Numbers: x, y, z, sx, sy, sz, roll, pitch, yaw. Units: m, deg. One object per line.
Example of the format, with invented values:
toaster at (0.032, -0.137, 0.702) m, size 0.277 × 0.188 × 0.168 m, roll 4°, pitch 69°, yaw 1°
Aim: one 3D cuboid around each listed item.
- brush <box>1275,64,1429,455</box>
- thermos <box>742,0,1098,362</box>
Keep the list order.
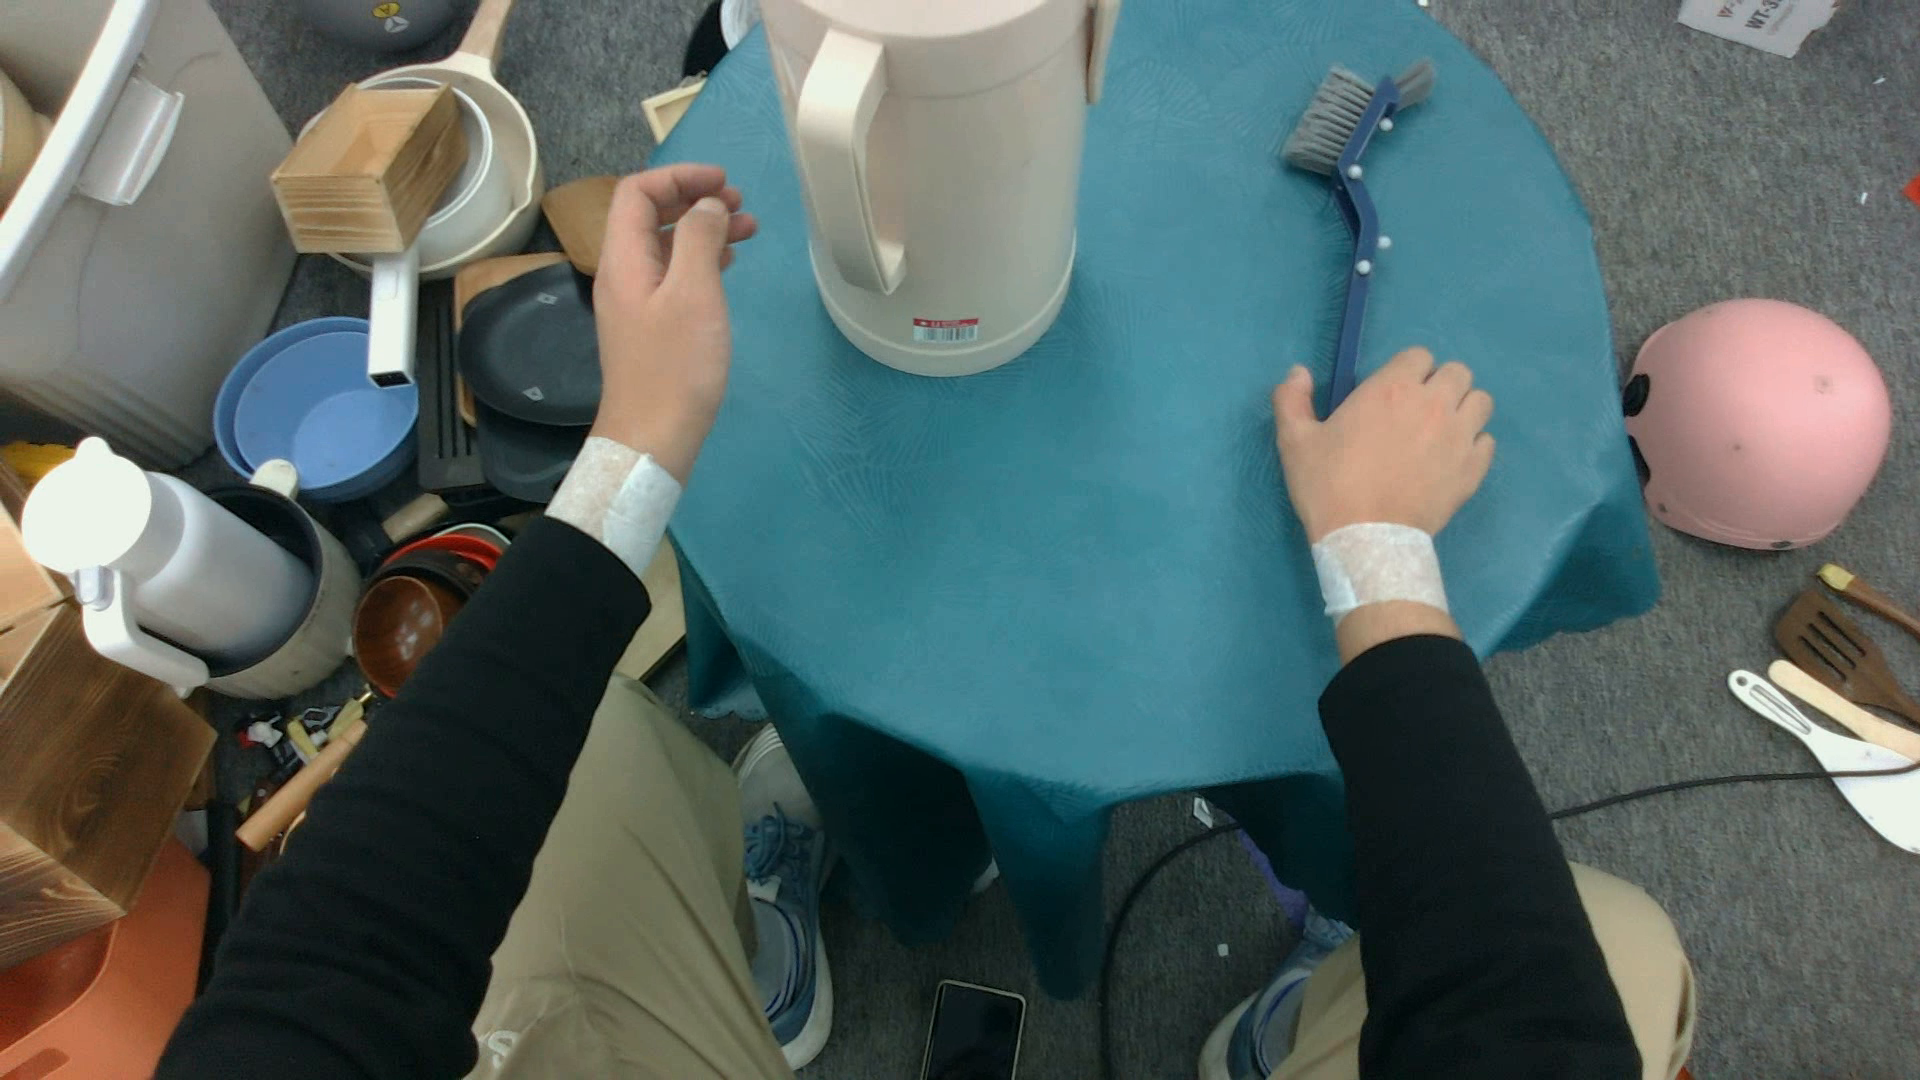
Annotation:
brush at (0.238, -0.177, 0.829) m, size 0.096 × 0.033 × 0.274 m, roll 4°, pitch 68°, yaw 3°
thermos at (-0.028, -0.231, 0.655) m, size 0.175 × 0.405 × 0.207 m, roll 19°, pitch 72°, yaw 5°
